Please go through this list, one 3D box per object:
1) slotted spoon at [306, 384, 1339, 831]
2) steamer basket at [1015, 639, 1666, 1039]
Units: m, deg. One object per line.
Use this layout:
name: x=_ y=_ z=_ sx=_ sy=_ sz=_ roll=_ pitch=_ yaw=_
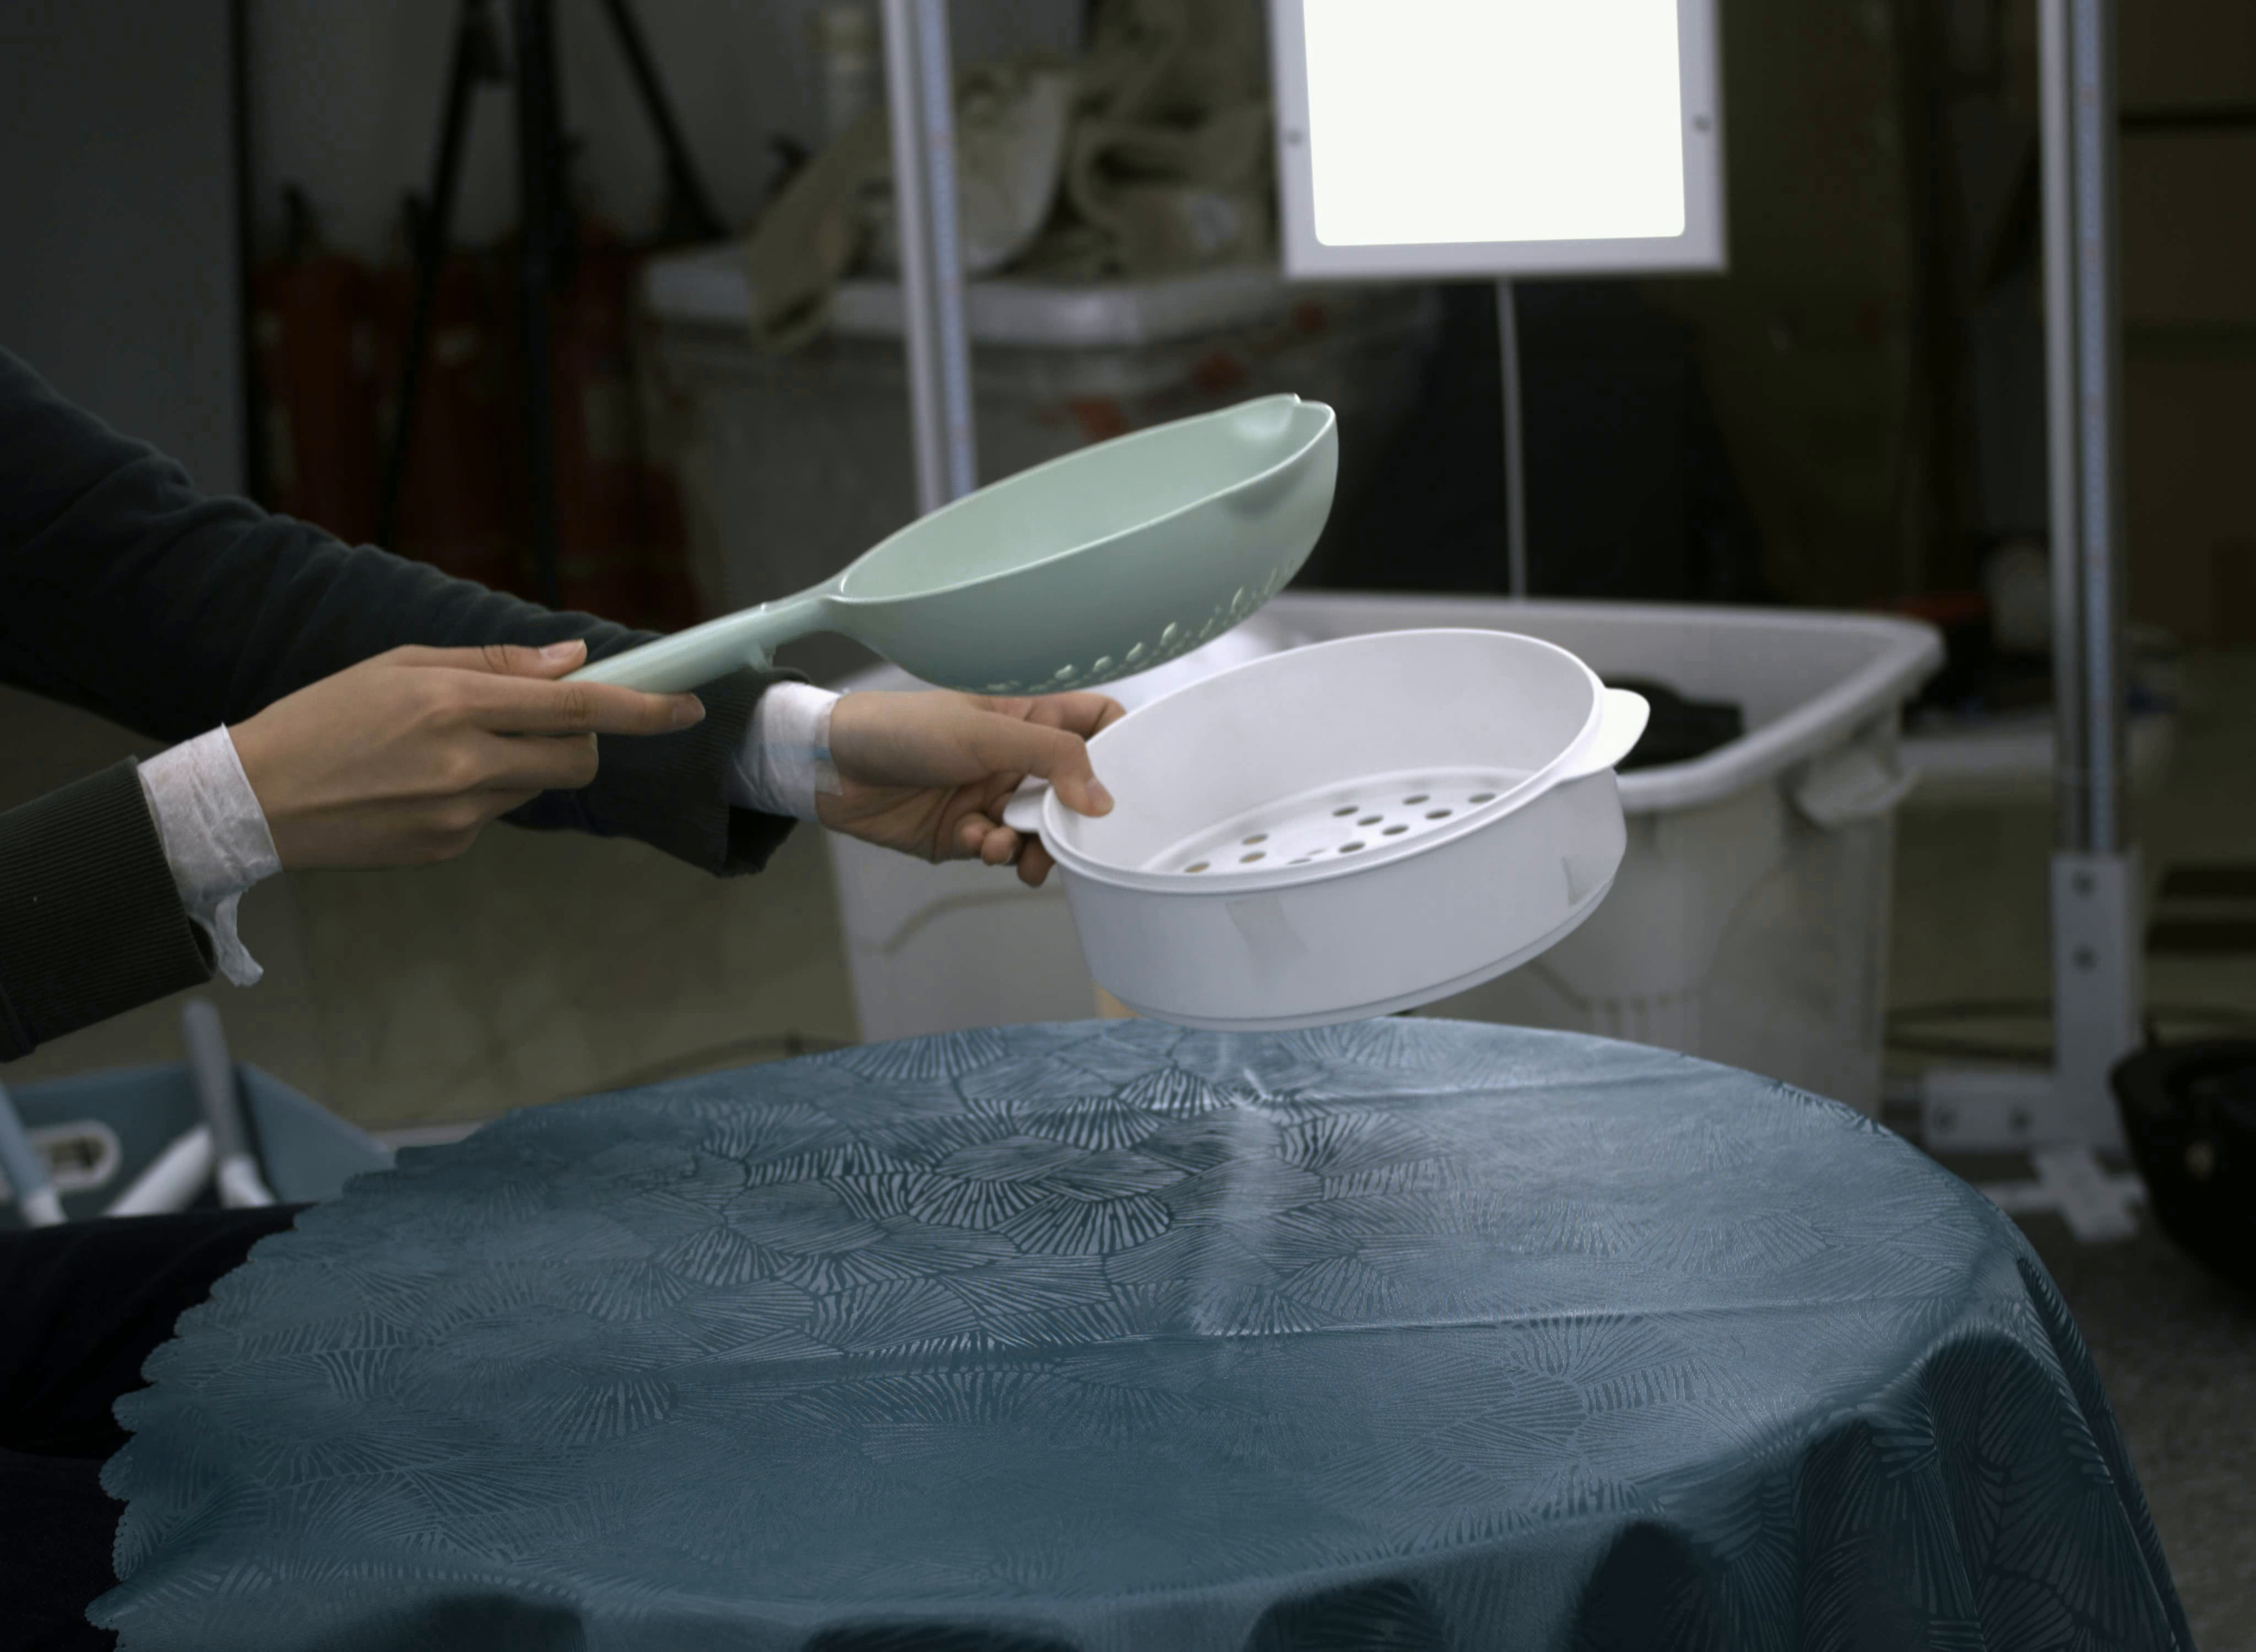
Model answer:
slotted spoon: x=-0.101 y=-0.066 z=1.785 sx=0.360 sy=0.075 sz=0.168 roll=-11 pitch=14 yaw=6
steamer basket: x=0.078 y=0.005 z=1.891 sx=0.234 sy=0.069 sz=0.199 roll=-7 pitch=23 yaw=22
